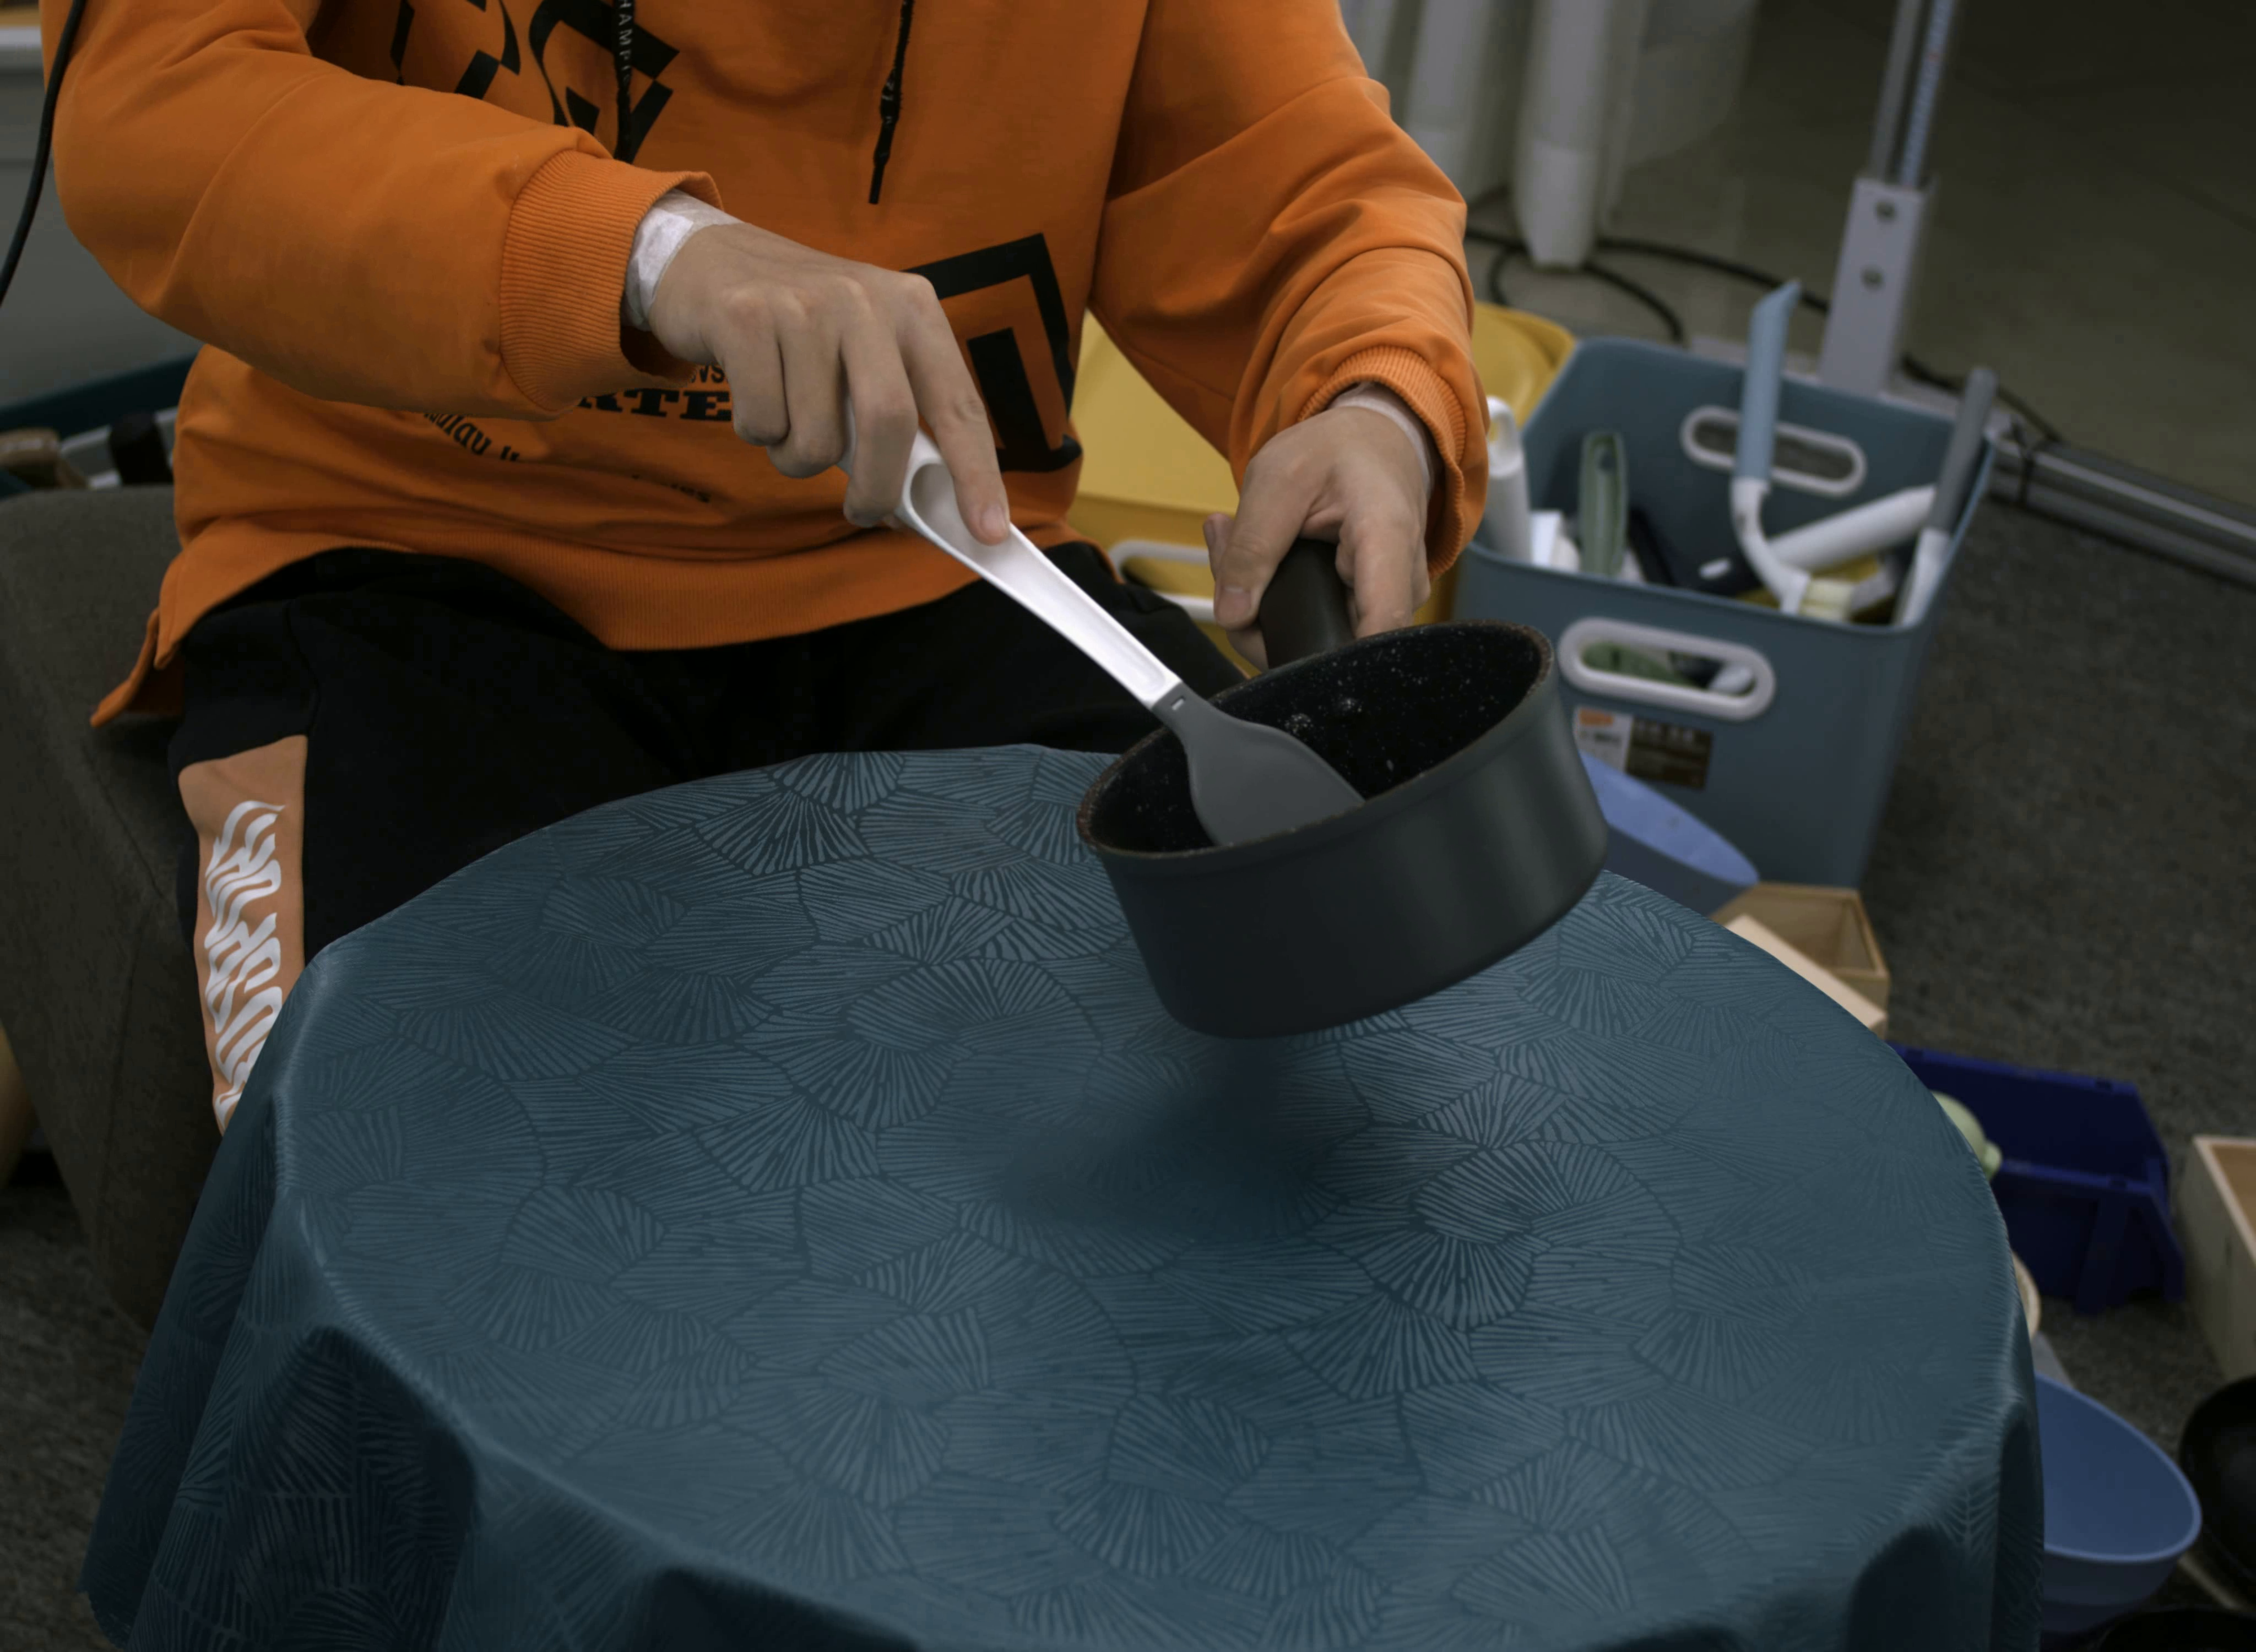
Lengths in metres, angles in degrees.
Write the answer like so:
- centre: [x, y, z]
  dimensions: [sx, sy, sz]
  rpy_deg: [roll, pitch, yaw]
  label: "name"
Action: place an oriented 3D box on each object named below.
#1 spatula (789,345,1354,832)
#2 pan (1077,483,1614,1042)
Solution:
- centre: [-0.010, -0.063, 1.837]
  dimensions: [0.058, 0.032, 0.289]
  rpy_deg: [-39, 71, -22]
  label: "spatula"
- centre: [0.076, -0.029, 1.868]
  dimensions: [0.172, 0.086, 0.330]
  rpy_deg: [-19, 20, 9]
  label: "pan"
